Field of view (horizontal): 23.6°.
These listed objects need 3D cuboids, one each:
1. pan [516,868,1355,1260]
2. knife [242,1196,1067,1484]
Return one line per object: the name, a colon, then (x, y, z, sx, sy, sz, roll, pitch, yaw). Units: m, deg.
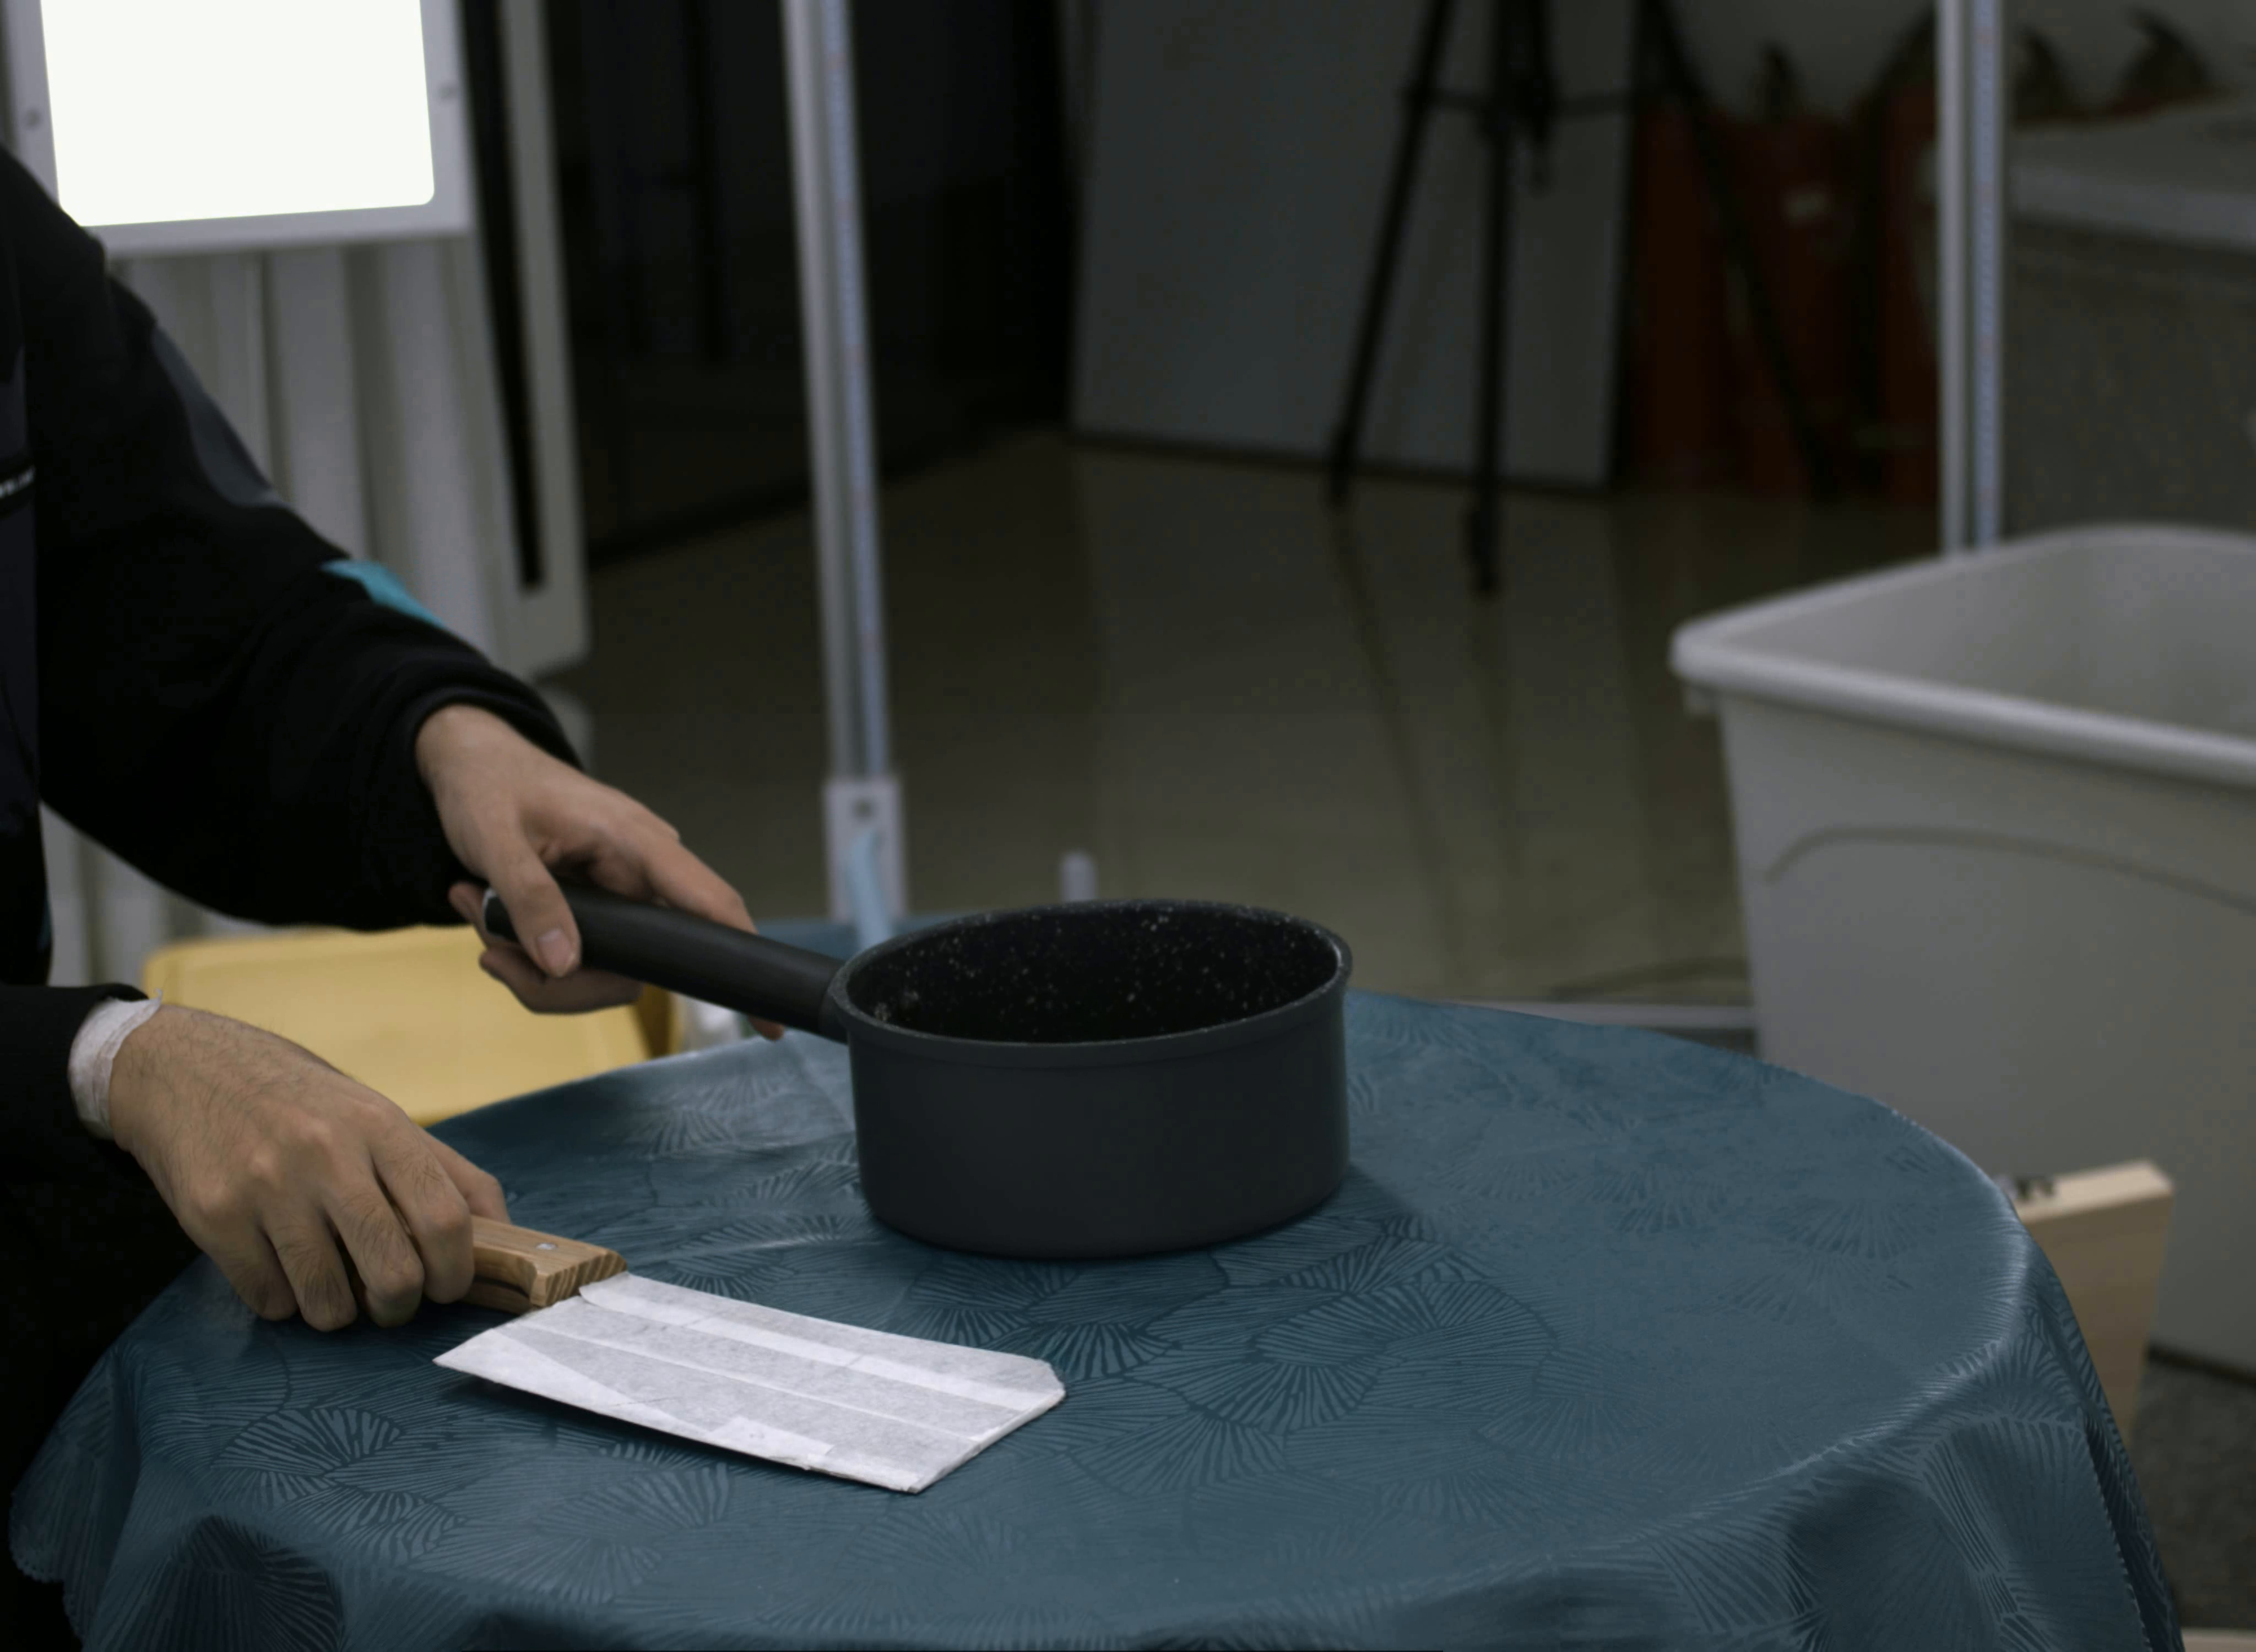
pan: (-0.073, 0.074, 1.811, 0.331, 0.087, 0.169, 6, 15, 35)
knife: (-0.154, 0.154, 1.646, 0.318, 0.022, 0.112, 11, 20, 39)
